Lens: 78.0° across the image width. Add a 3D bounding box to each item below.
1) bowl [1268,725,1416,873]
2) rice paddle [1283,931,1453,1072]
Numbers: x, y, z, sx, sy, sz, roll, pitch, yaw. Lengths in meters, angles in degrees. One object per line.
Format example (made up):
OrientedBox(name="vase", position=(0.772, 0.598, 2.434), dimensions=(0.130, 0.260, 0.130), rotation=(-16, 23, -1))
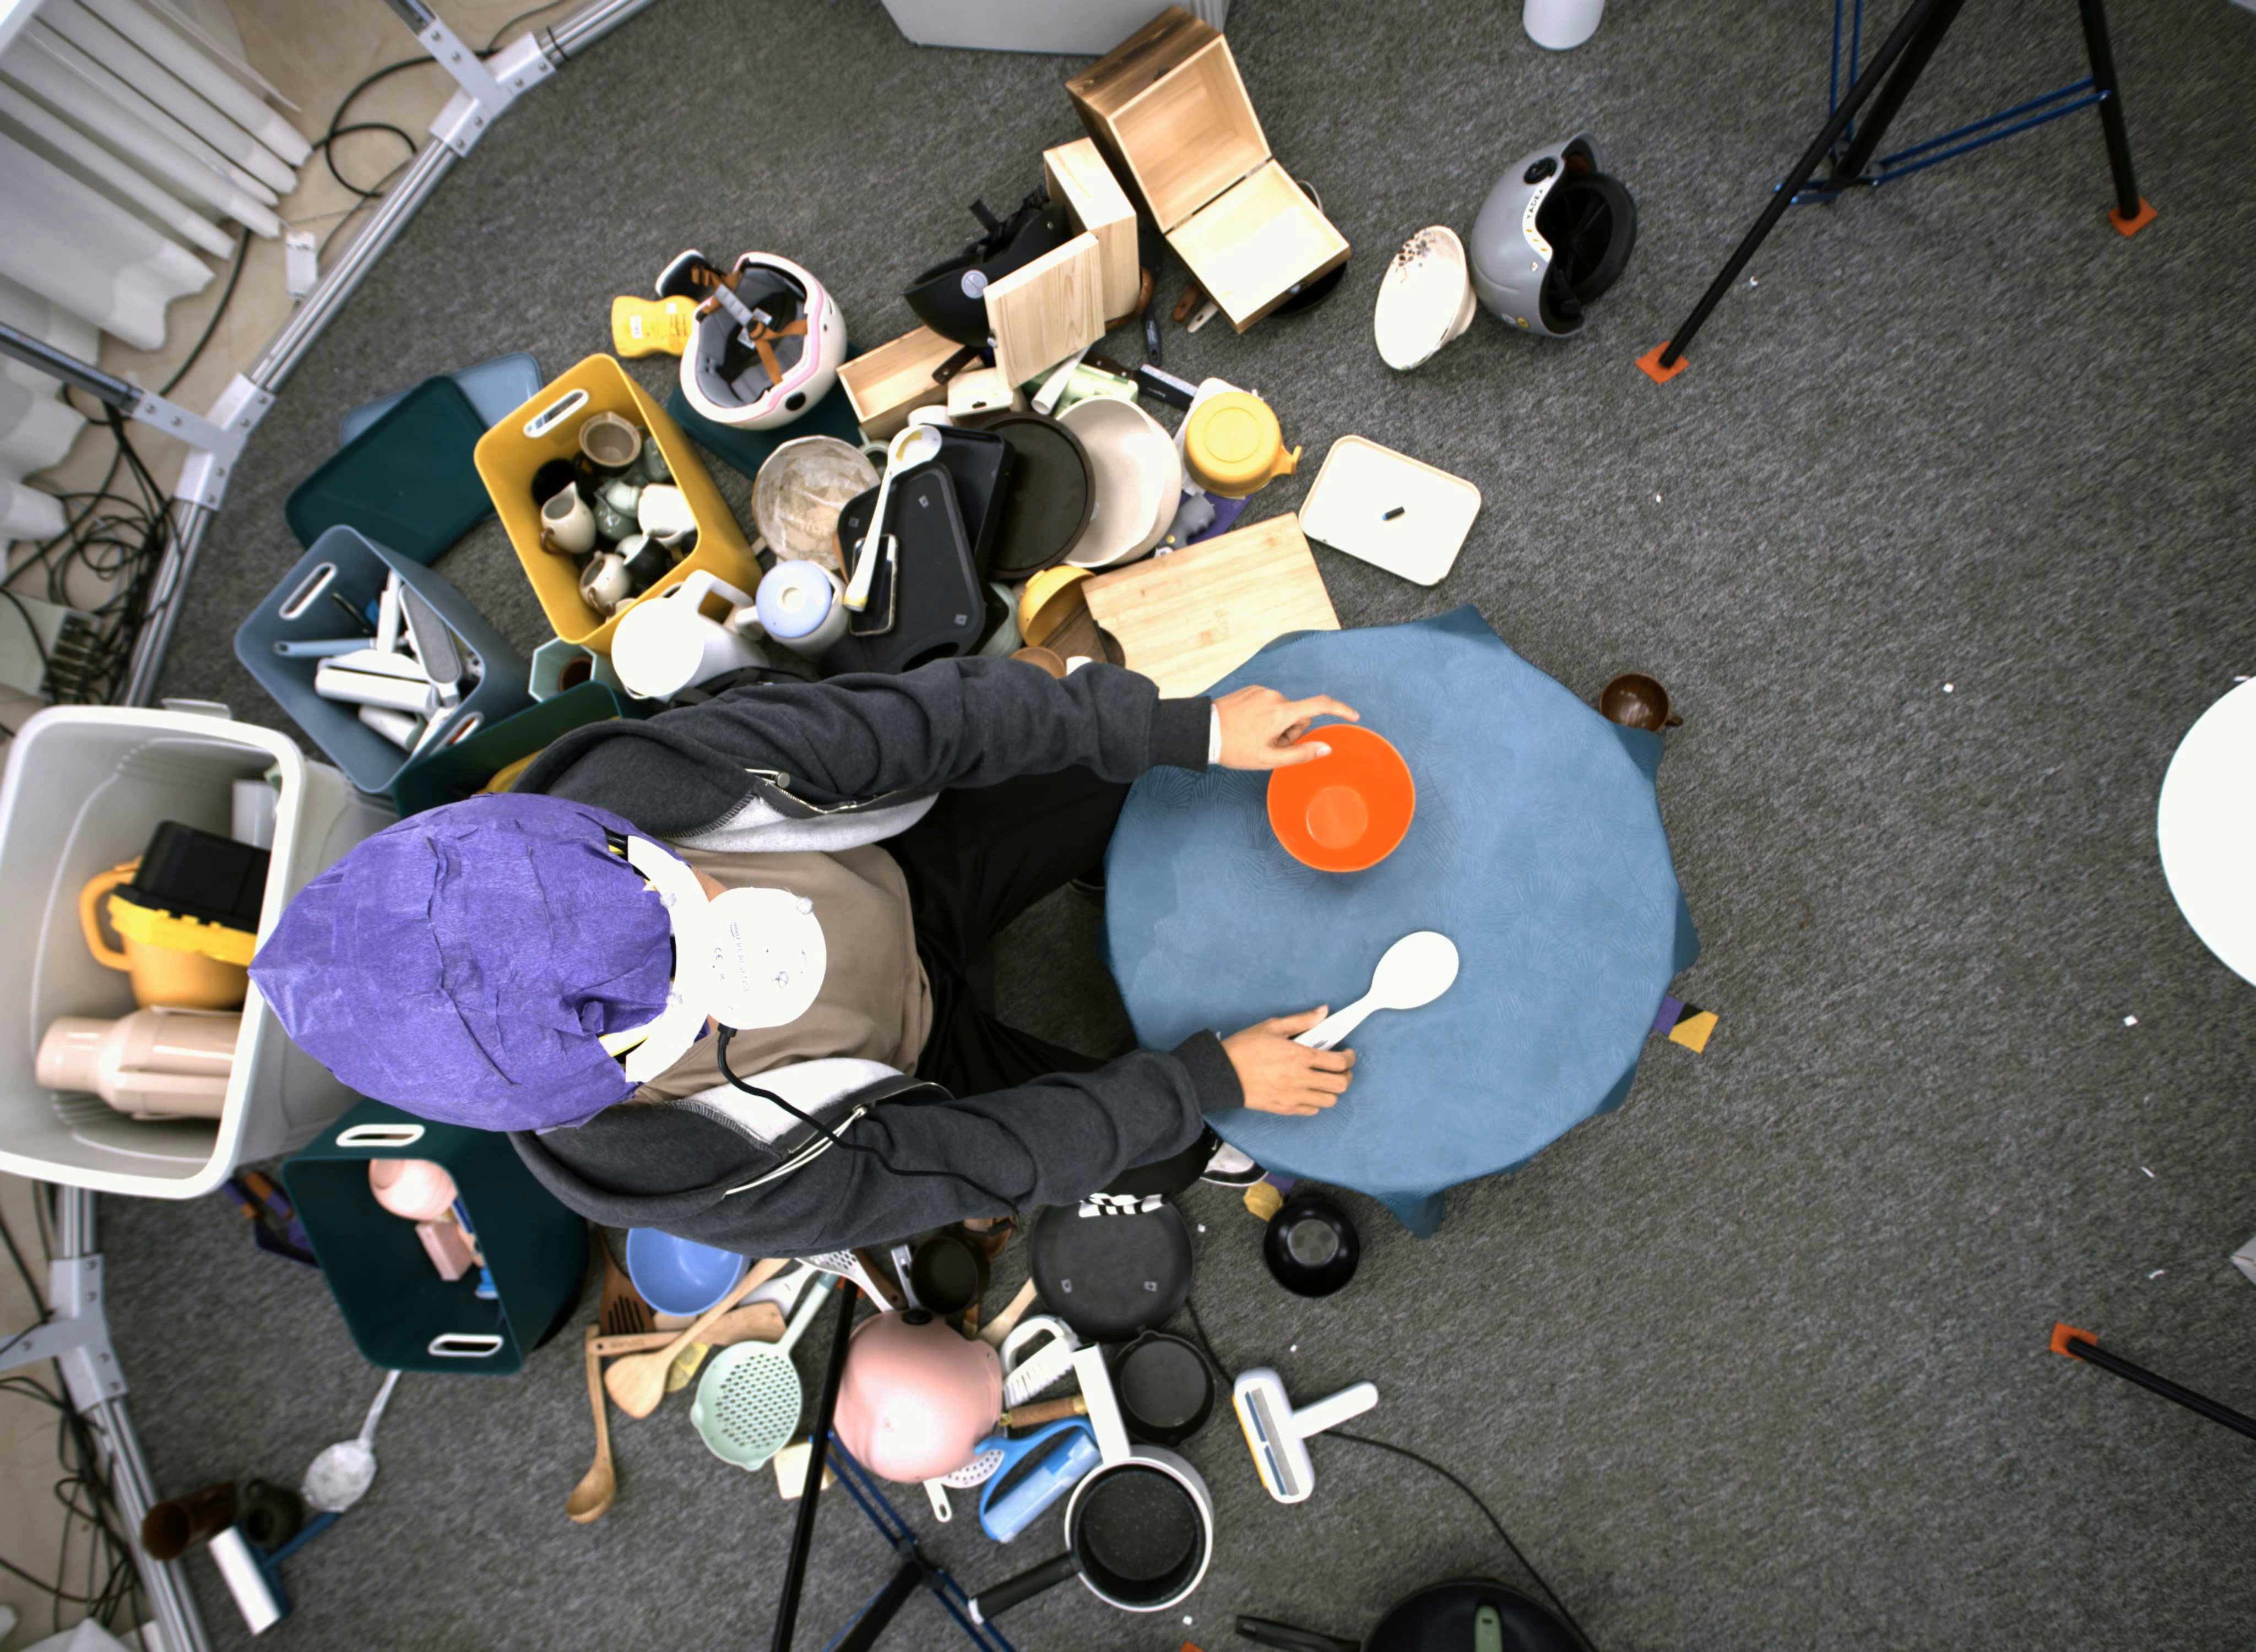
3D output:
OrientedBox(name="bowl", position=(0.220, -0.024, 1.423), dimensions=(0.148, 0.104, 0.147), rotation=(-1, 87, 9))
OrientedBox(name="rice paddle", position=(0.251, 0.182, 1.441), dimensions=(0.206, 0.029, 0.068), rotation=(-37, 82, 6))
